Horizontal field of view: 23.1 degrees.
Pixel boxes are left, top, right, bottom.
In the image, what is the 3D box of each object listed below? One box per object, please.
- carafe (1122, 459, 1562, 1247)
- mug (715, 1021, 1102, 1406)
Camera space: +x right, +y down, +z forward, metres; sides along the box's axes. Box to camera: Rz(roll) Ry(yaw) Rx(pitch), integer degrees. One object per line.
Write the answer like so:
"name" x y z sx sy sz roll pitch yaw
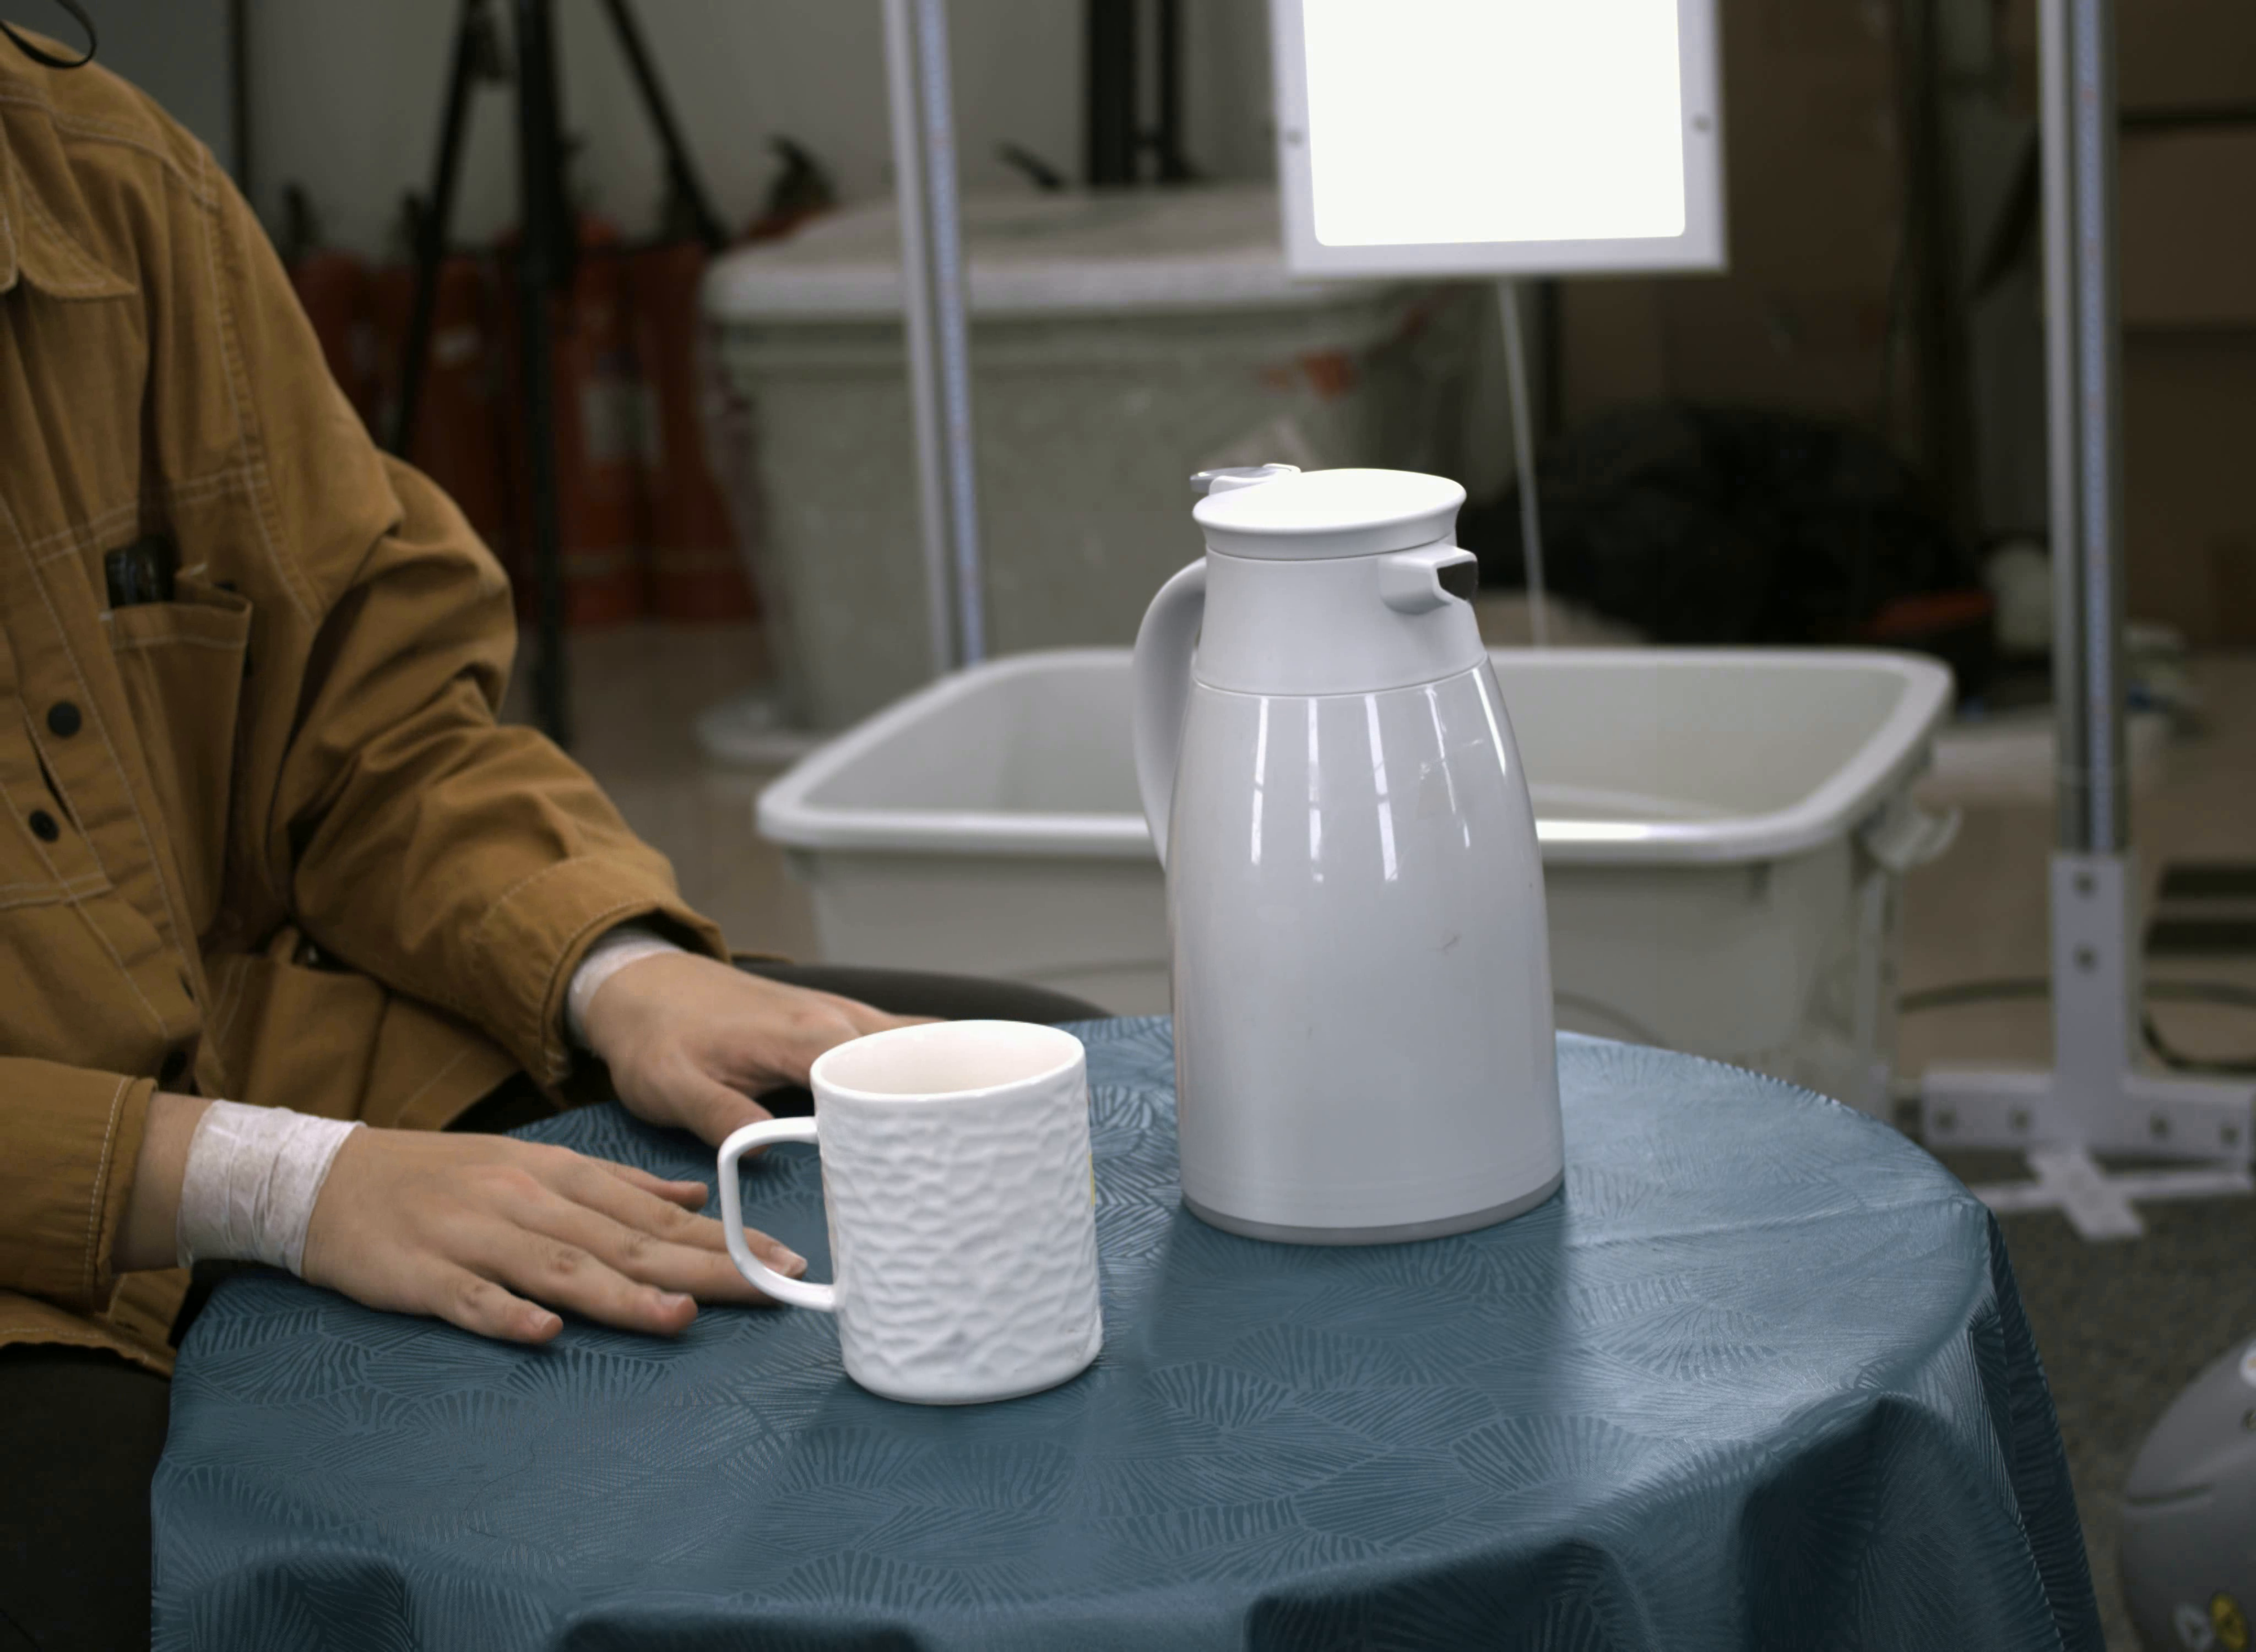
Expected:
"carafe" 0.061 0.001 1.865 0.129 0.249 0.171 -16 18 -37
"mug" -0.069 0.123 1.727 0.118 0.102 0.085 -5 13 0
